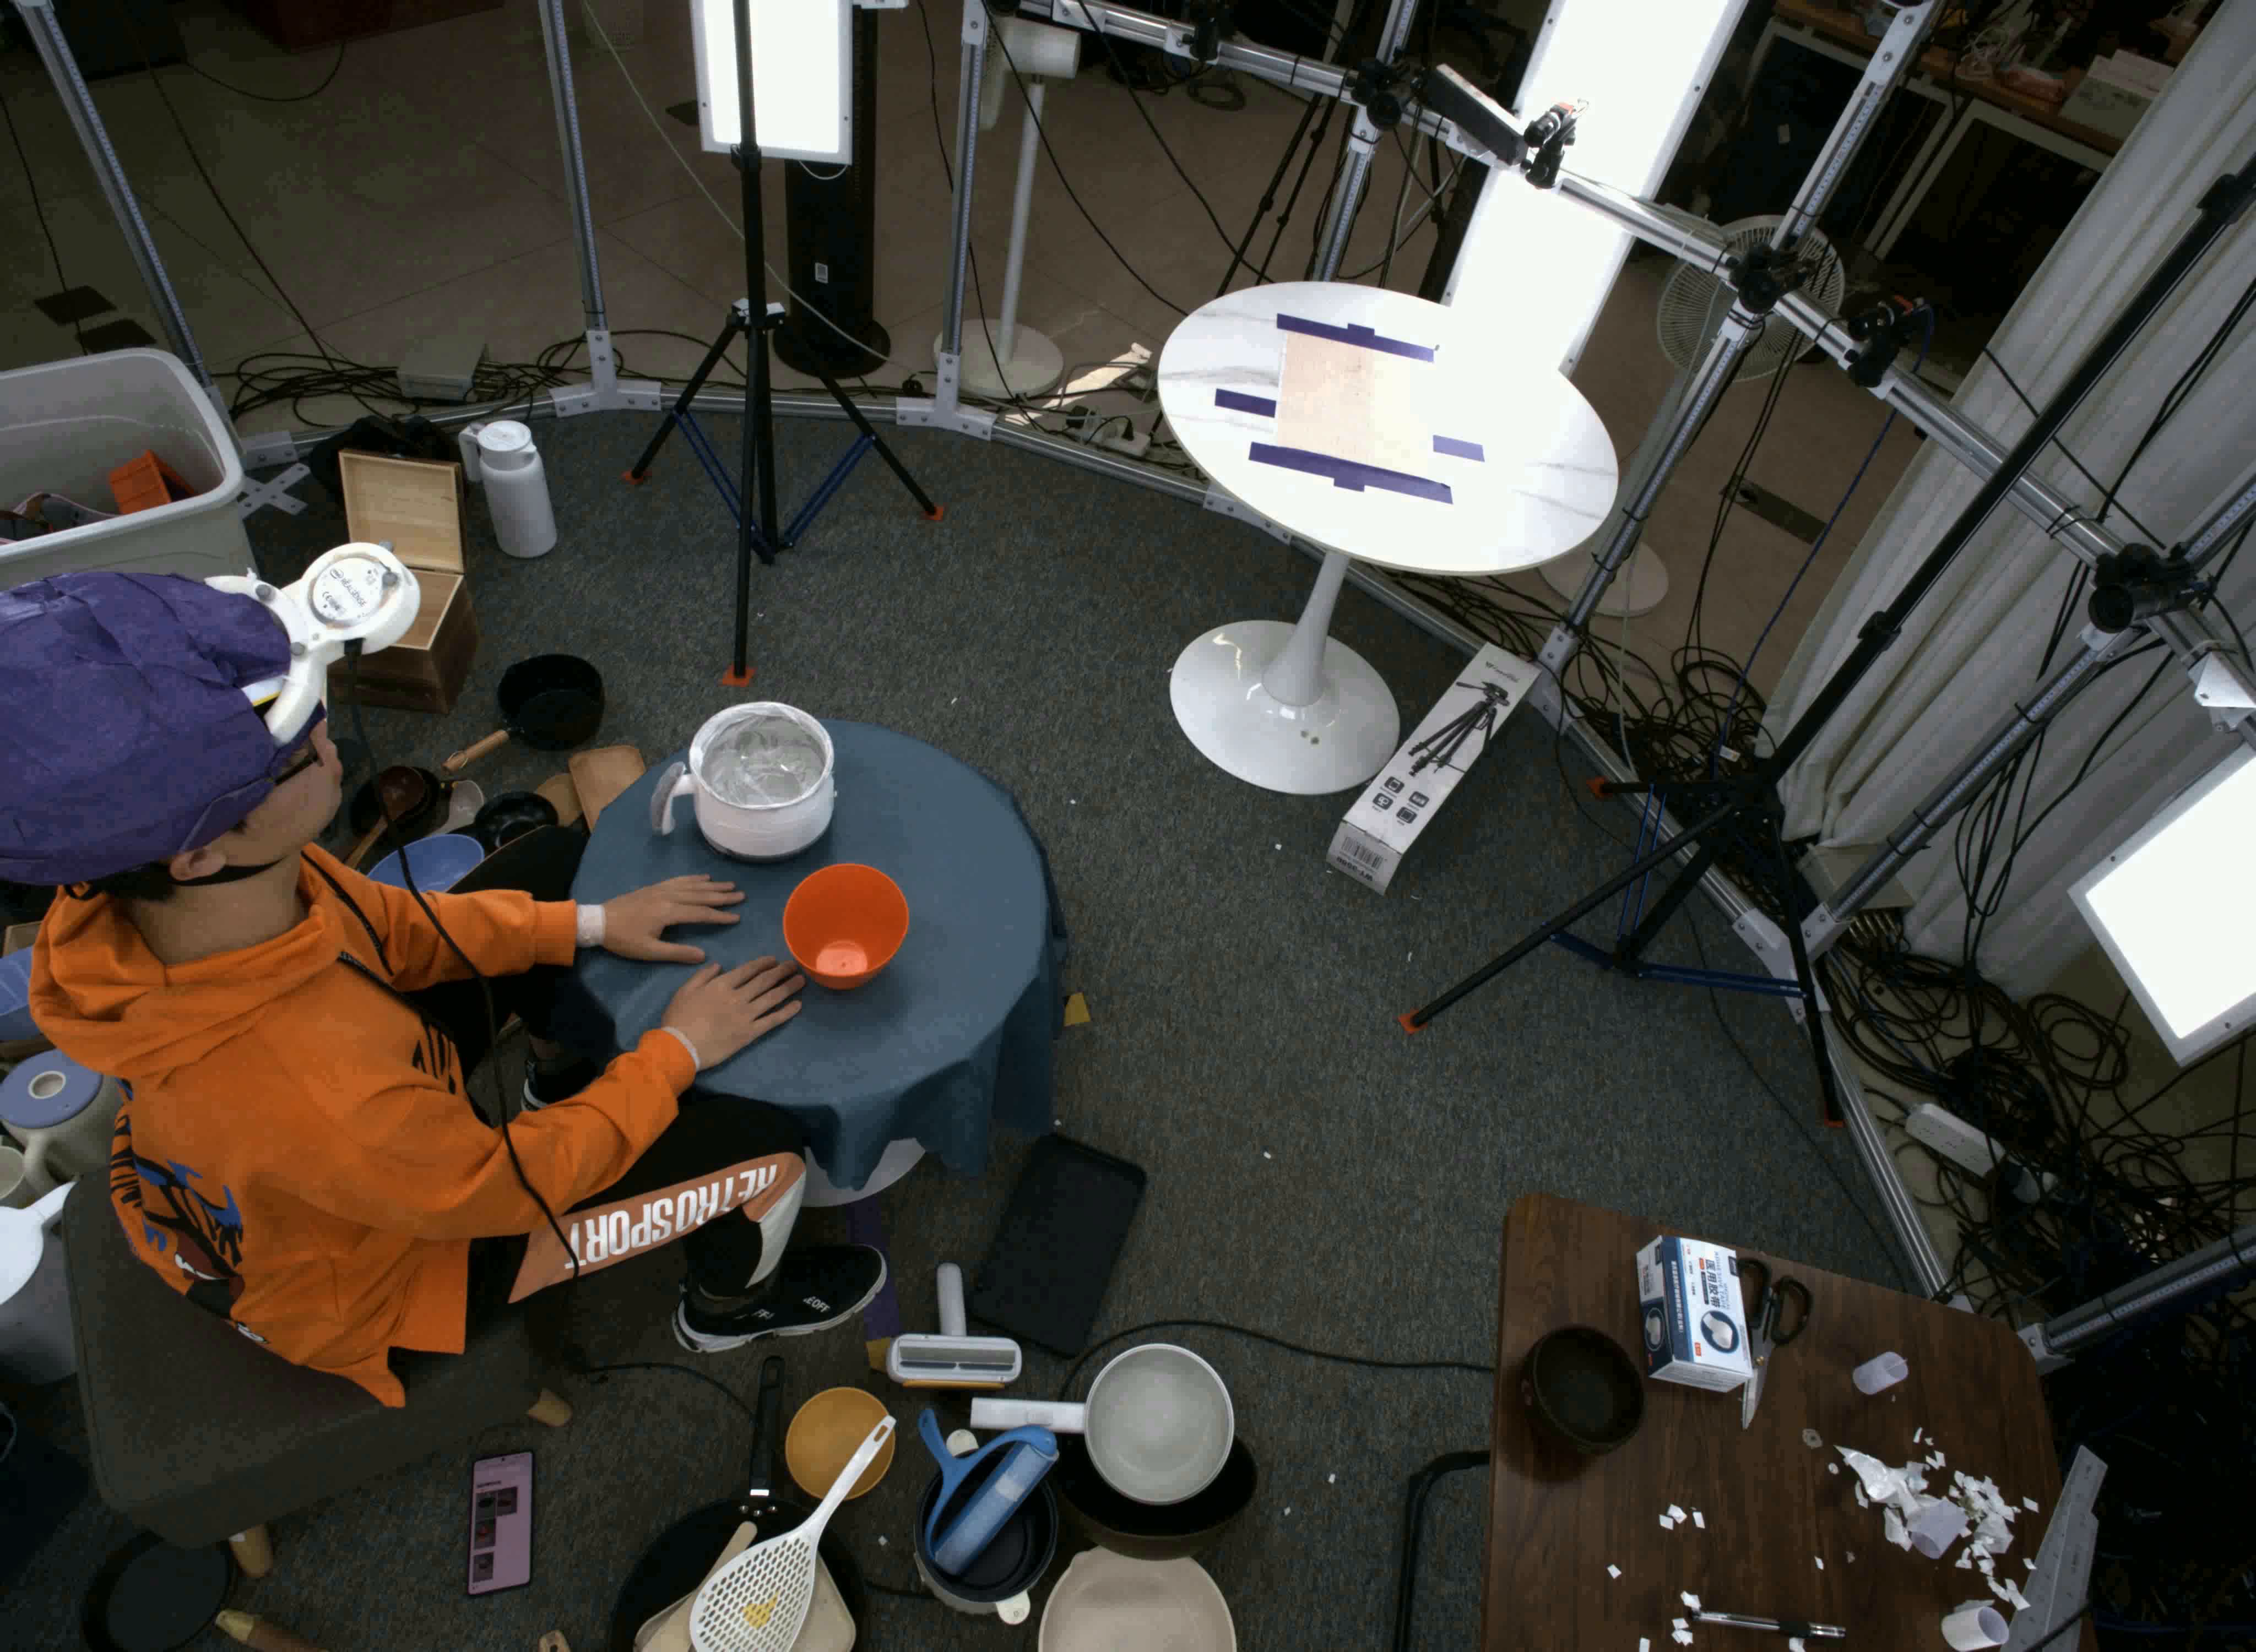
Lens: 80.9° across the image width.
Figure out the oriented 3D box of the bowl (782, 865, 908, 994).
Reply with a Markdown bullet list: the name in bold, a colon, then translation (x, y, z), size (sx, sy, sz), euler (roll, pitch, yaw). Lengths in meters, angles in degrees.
- **bowl**: translation (-0.341, 0.136, 1.572), size (0.147, 0.107, 0.145), euler (7, 53, -8)

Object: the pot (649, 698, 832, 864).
- **pot**: translation (-0.494, -0.048, 1.642), size (0.235, 0.139, 0.174), euler (-13, 56, -23)
